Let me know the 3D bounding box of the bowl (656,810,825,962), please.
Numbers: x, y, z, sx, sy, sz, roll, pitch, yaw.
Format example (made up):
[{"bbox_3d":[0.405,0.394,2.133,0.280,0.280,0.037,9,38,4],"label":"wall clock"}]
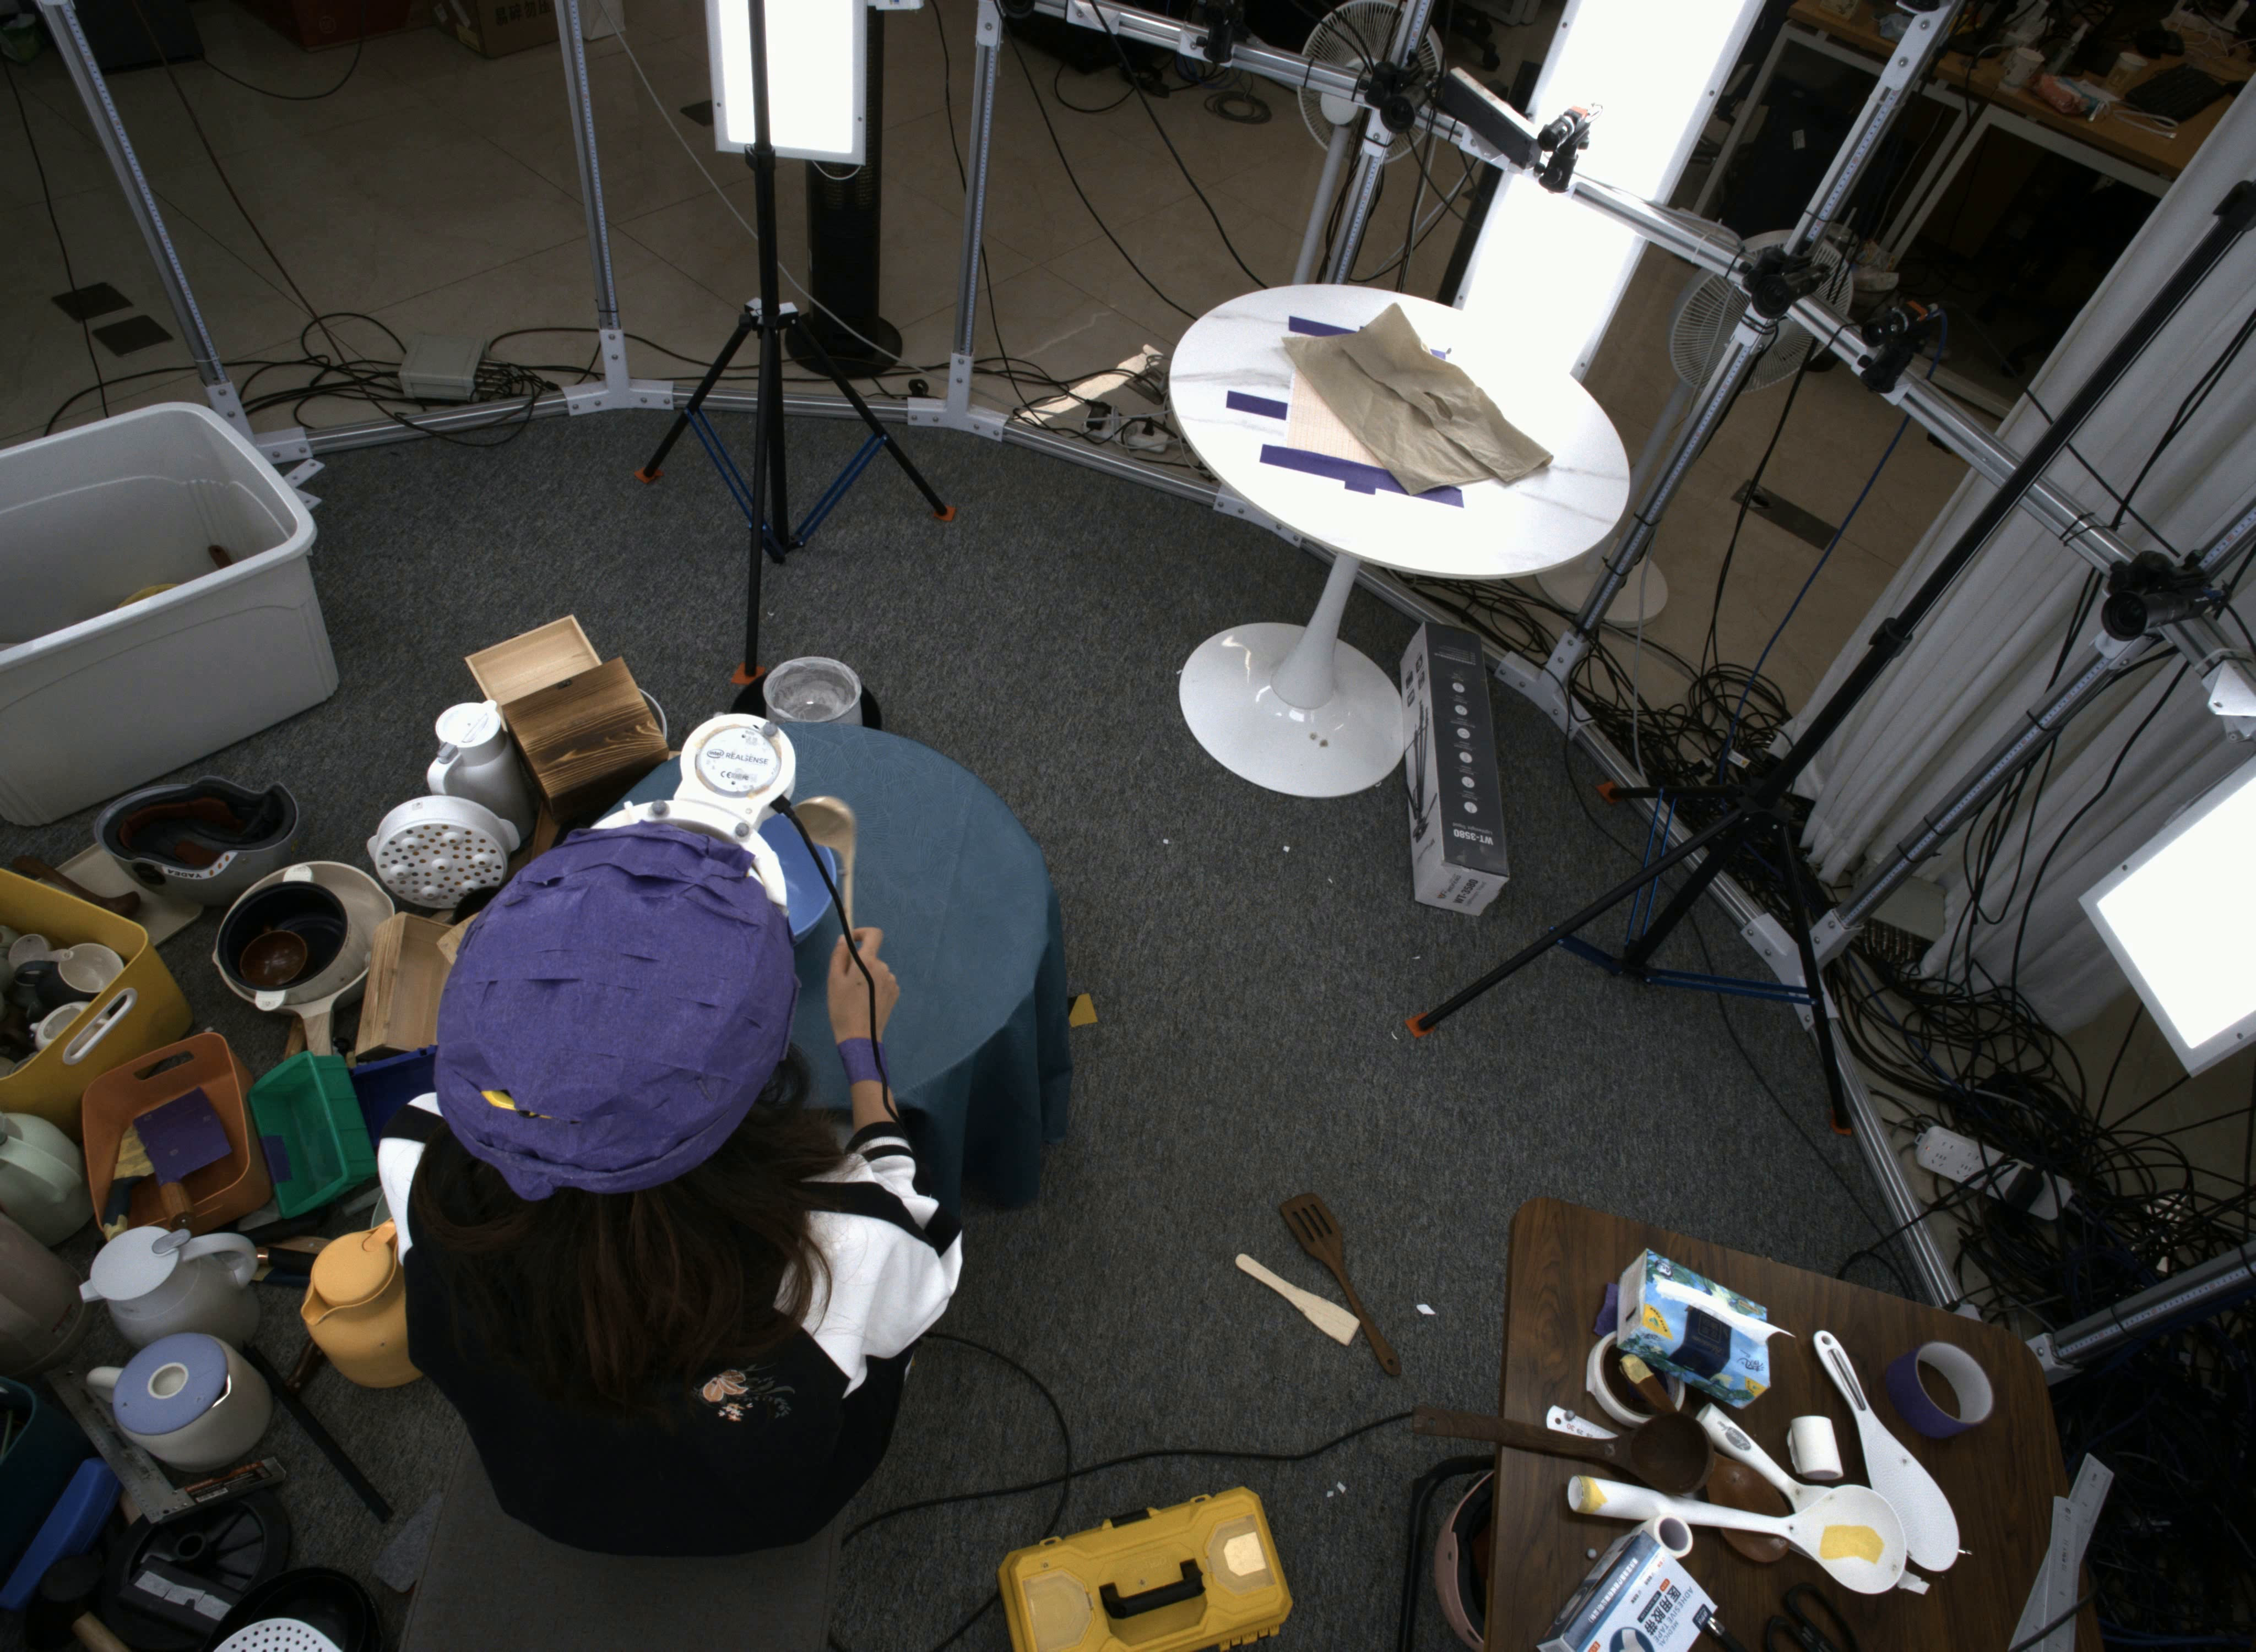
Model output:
[{"bbox_3d":[-0.470,0.086,1.573,0.197,0.097,0.193,10,54,-12],"label":"bowl"}]

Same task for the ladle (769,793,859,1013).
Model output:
[{"bbox_3d":[-0.350,0.083,1.438,0.074,0.071,0.251,10,58,-44],"label":"ladle"}]
